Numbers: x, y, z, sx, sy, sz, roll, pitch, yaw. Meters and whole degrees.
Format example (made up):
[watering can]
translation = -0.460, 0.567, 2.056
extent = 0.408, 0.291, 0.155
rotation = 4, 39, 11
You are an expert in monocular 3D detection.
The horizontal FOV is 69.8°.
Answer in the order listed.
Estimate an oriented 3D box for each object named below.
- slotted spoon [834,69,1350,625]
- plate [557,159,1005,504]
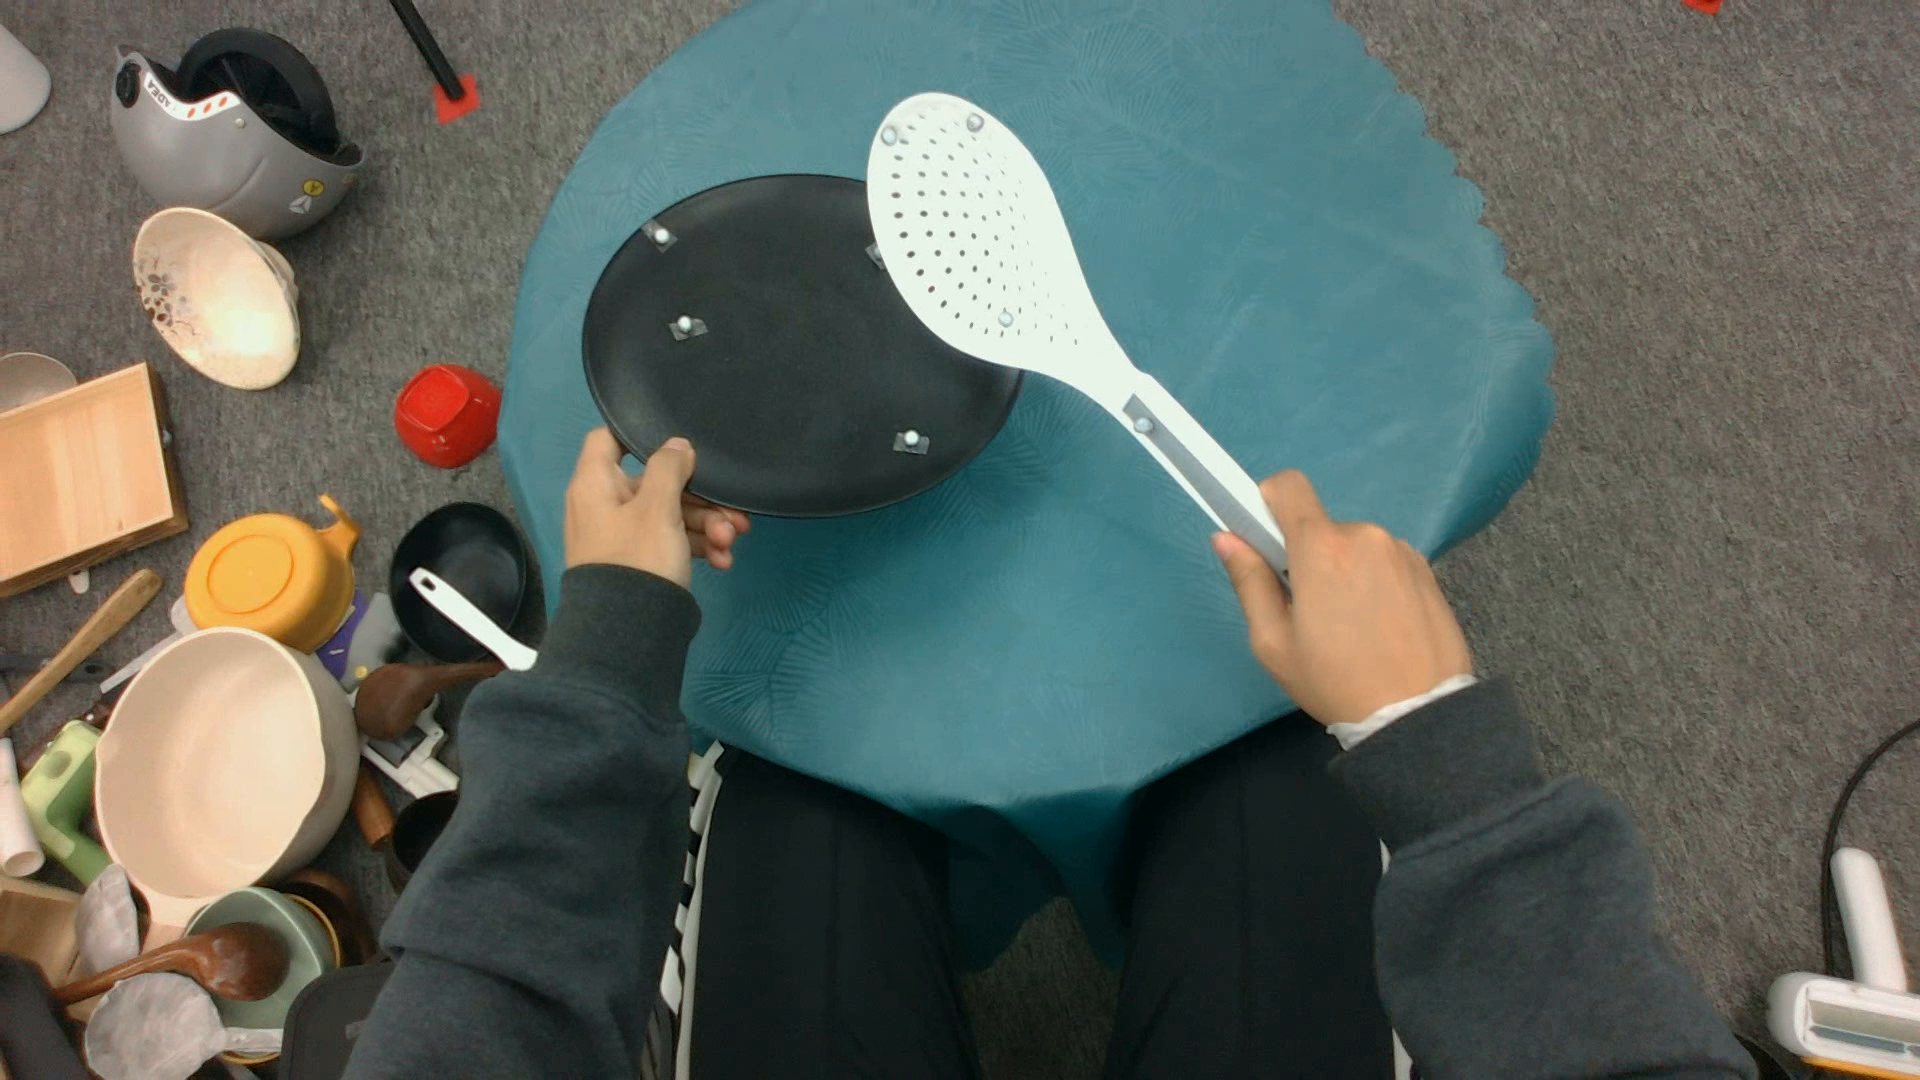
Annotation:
[slotted spoon]
translation = 0.058, -0.094, 0.671
extent = 0.046, 0.135, 0.350
rotation = -29, 71, -31
[plate]
translation = -0.097, -0.119, 0.763
extent = 0.244, 0.023, 0.245
rotation = 3, 58, -5
